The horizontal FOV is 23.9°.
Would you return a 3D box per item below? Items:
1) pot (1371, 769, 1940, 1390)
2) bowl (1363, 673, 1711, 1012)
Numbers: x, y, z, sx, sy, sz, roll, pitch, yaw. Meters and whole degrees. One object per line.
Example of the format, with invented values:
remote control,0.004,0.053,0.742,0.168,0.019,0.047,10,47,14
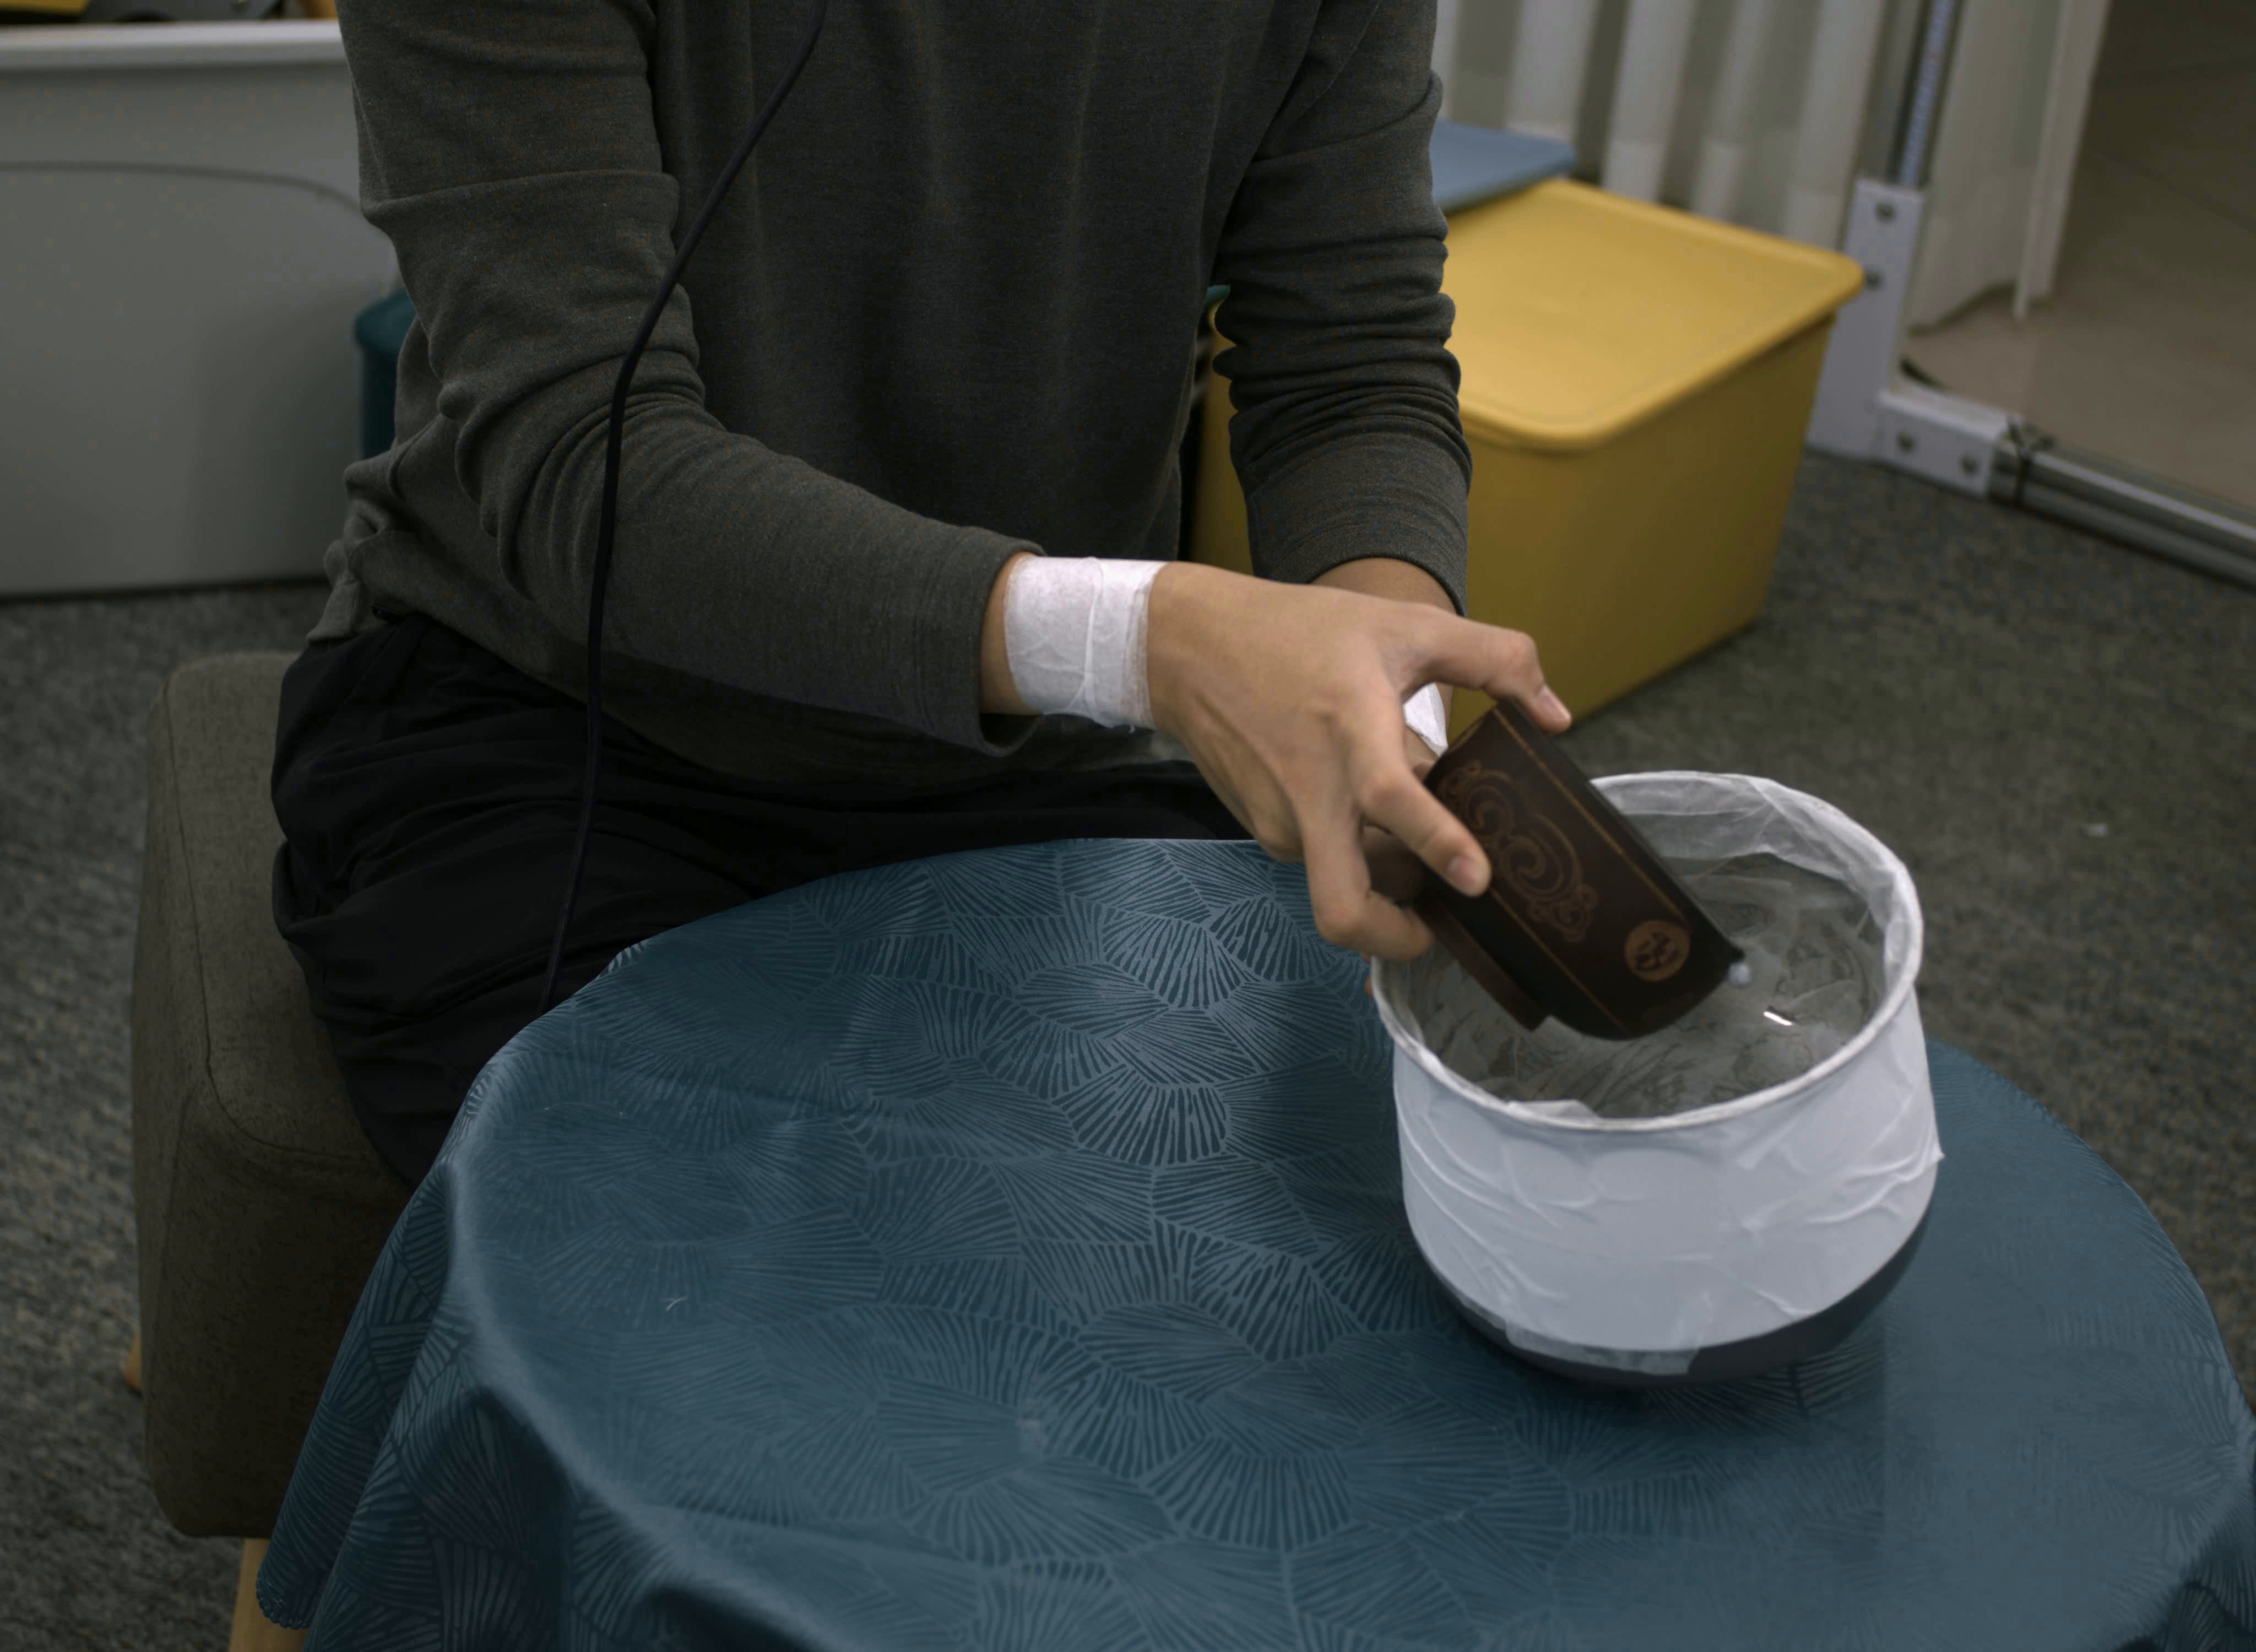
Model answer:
pot,0.159,0.073,1.755,0.178,0.136,0.236,-28,40,-21
bowl,0.122,0.014,1.706,0.118,0.070,0.118,42,-1,1
